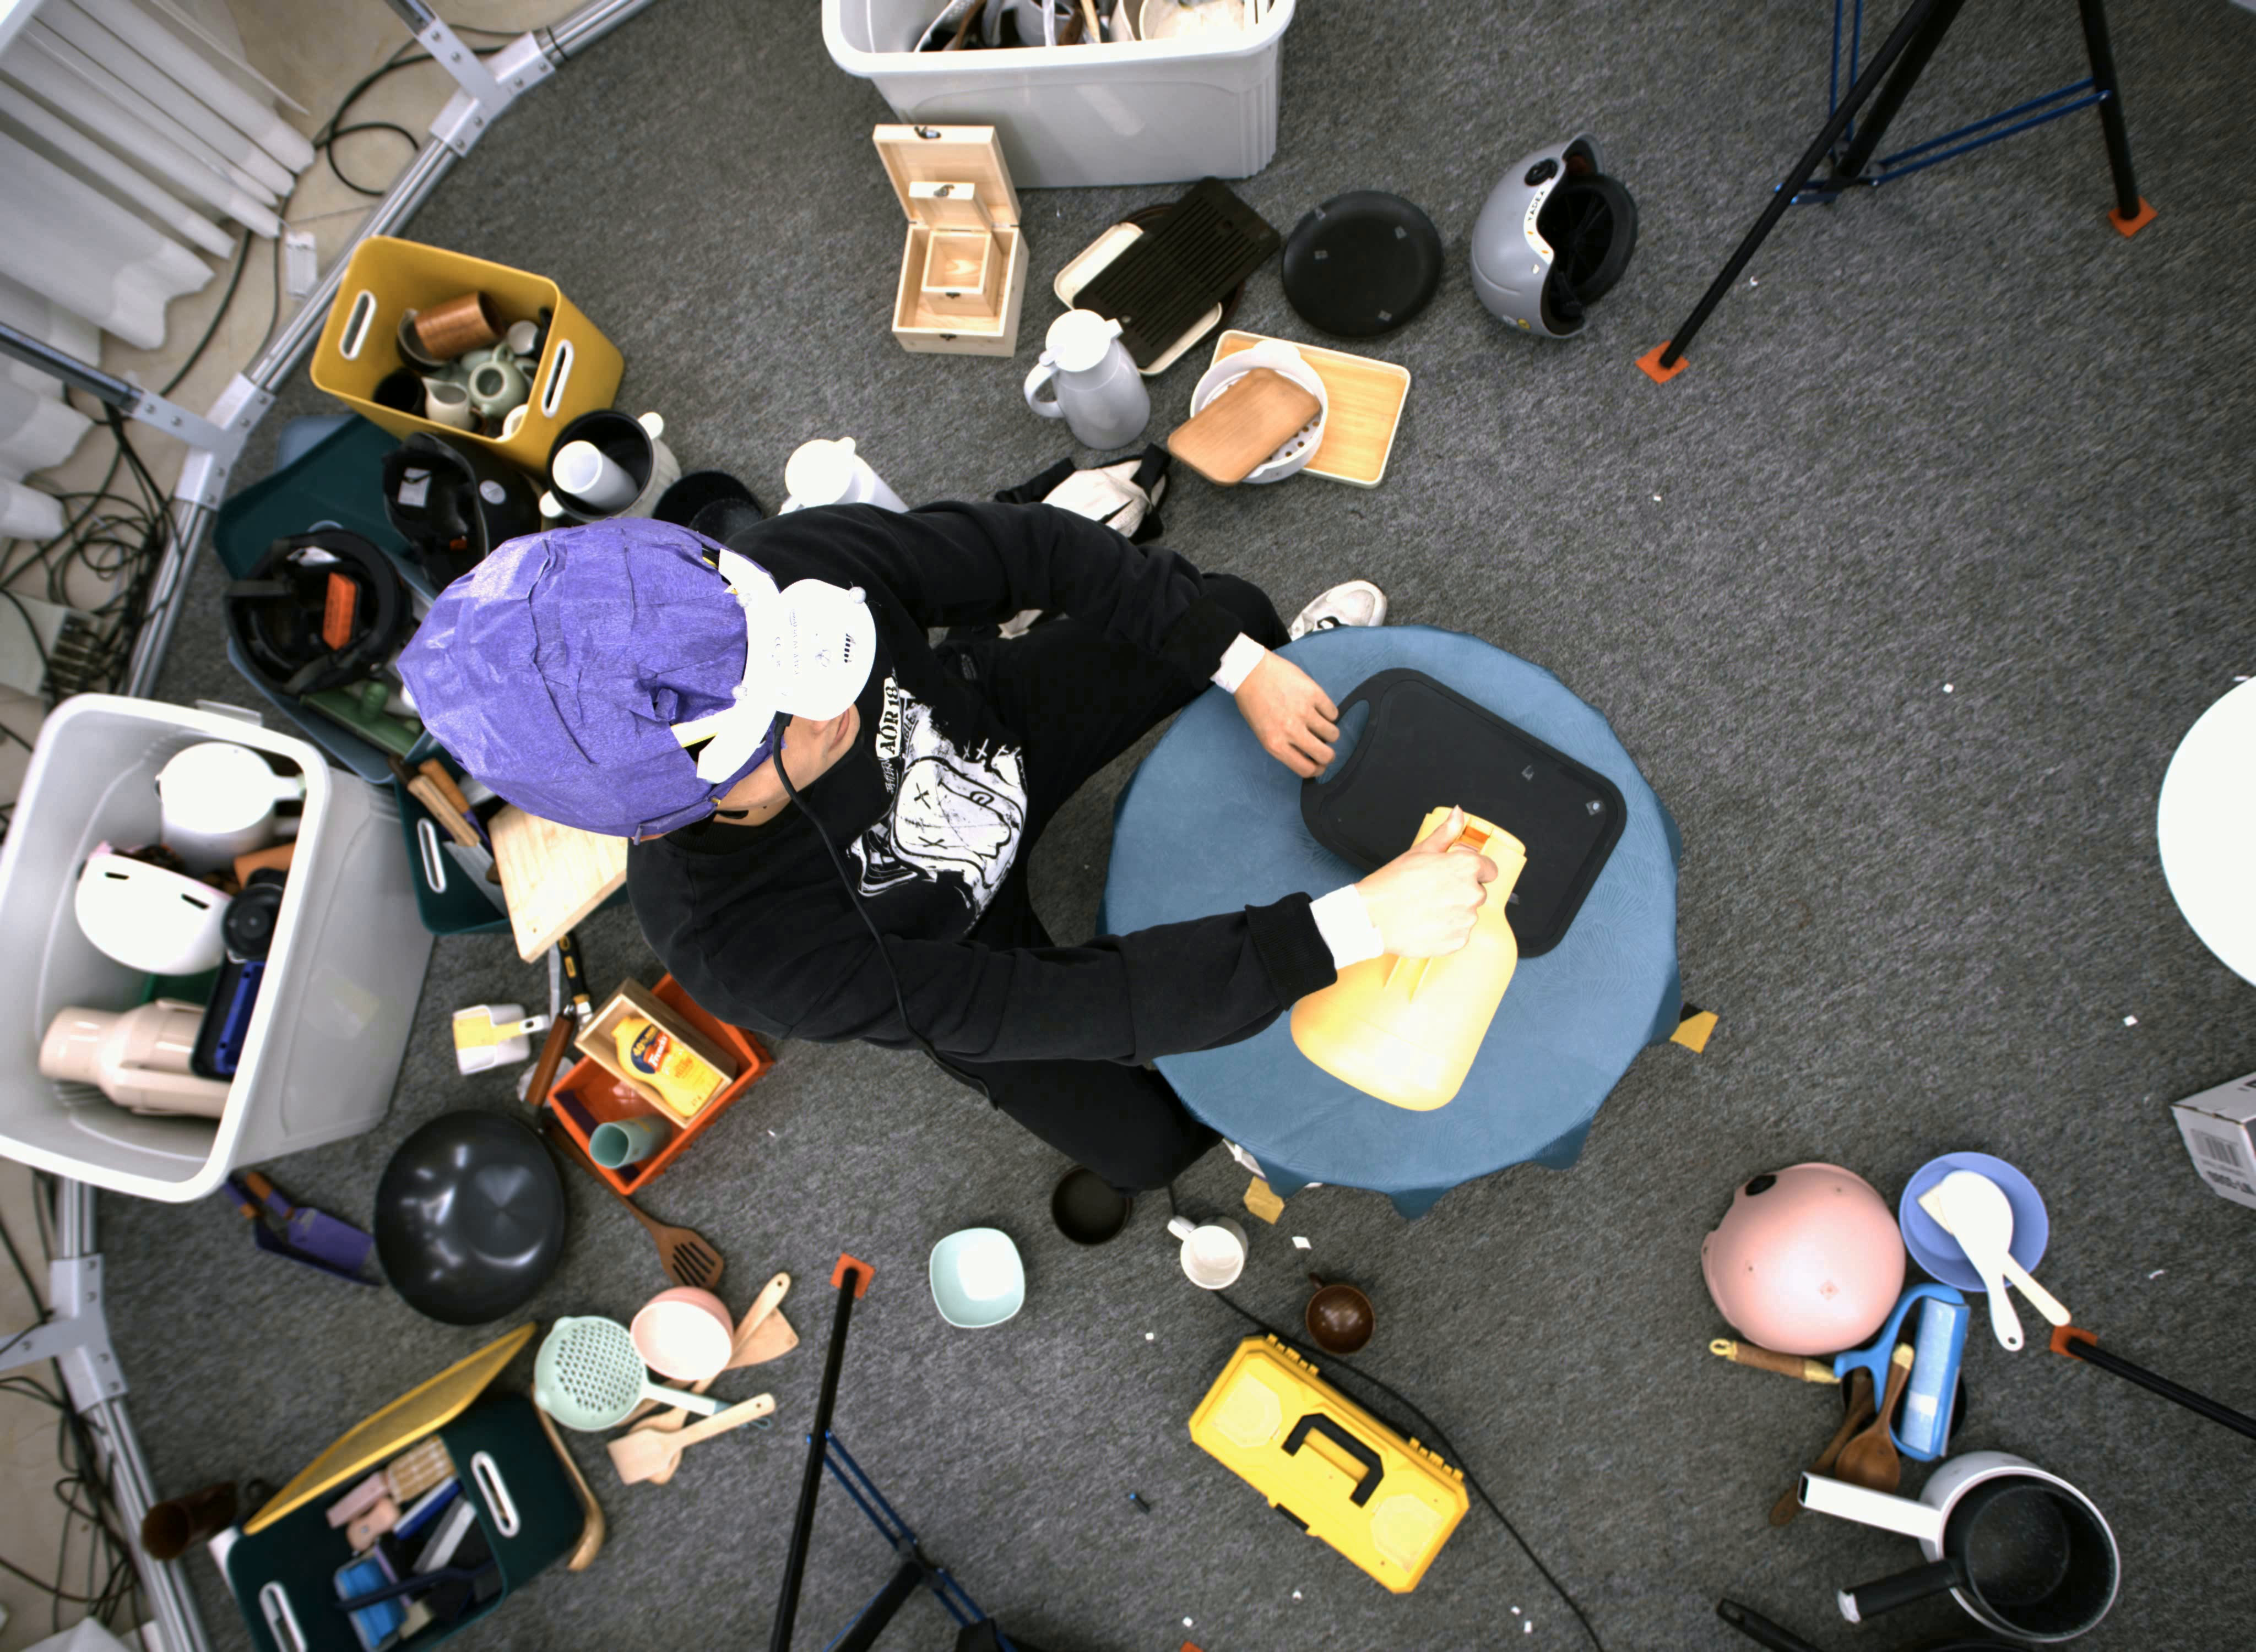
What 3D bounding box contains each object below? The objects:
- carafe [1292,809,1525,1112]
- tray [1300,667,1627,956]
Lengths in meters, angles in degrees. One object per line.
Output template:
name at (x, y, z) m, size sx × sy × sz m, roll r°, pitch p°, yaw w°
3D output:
carafe at (0.257, 0.111, 1.223) m, size 0.163 × 0.202 × 0.261 m, roll 24°, pitch 92°, yaw 17°
tray at (0.341, -0.021, 1.421) m, size 0.325 × 0.010 × 0.211 m, roll 30°, pitch 92°, yaw 1°
